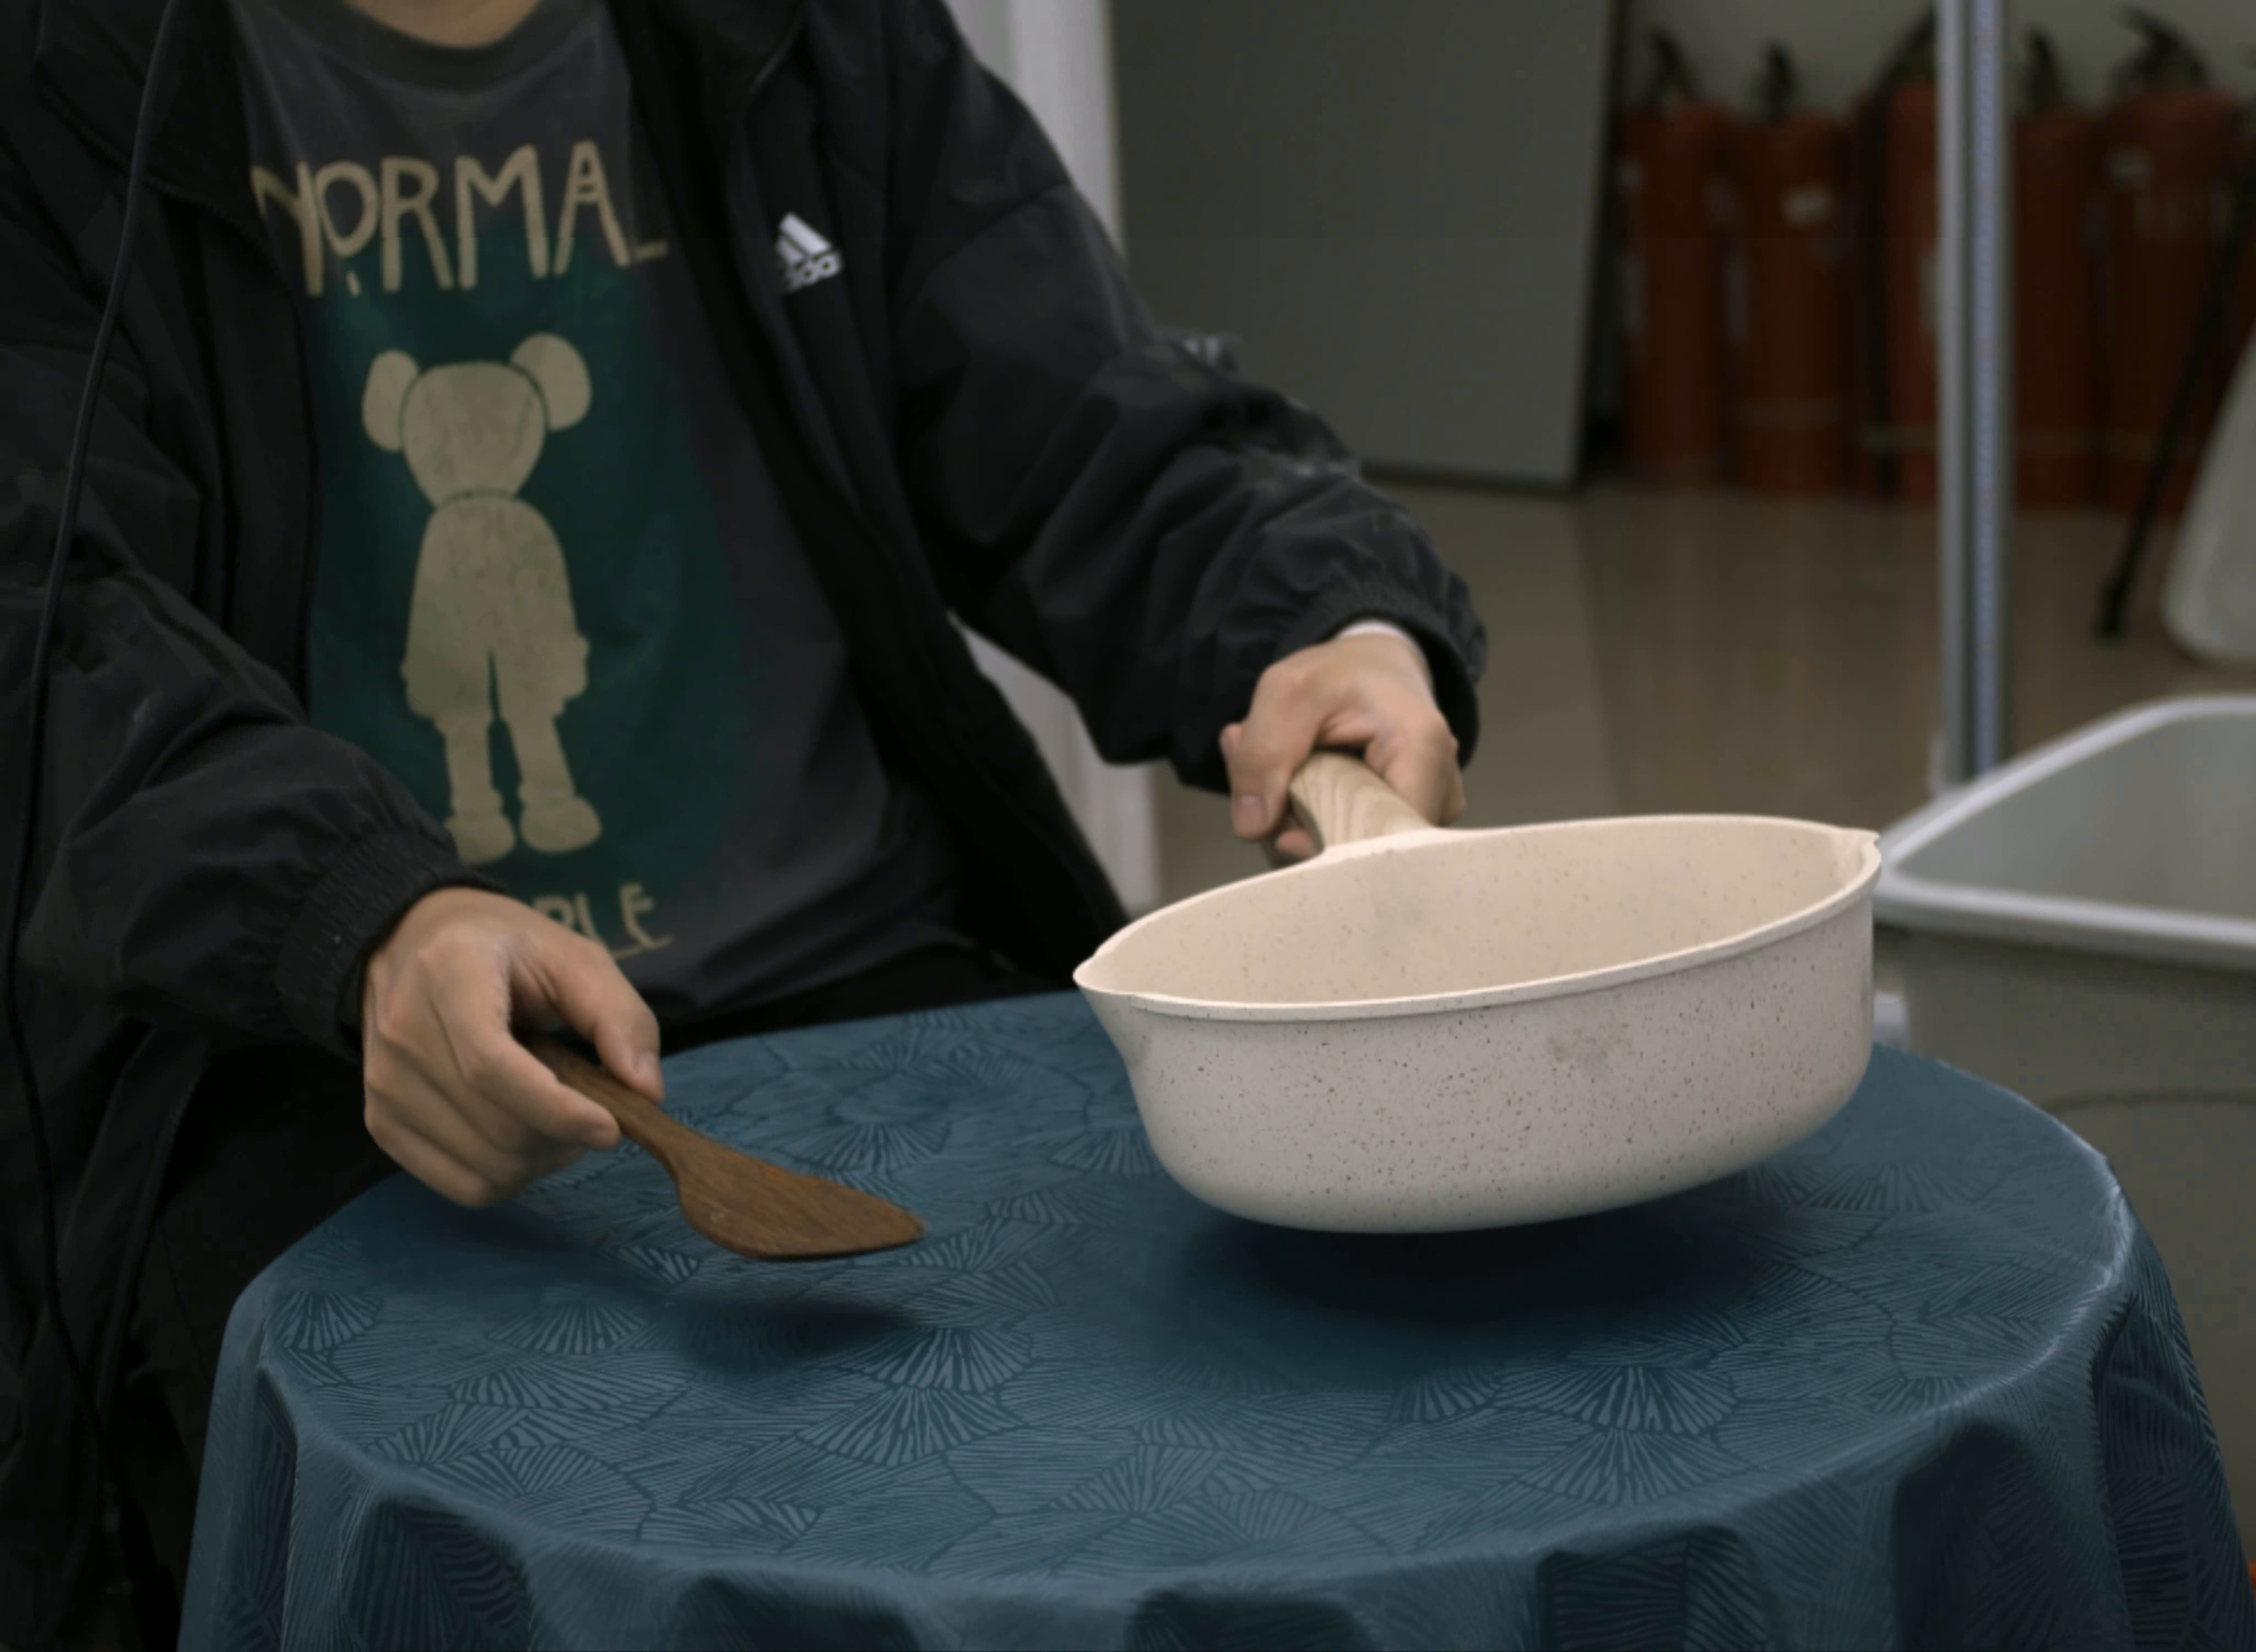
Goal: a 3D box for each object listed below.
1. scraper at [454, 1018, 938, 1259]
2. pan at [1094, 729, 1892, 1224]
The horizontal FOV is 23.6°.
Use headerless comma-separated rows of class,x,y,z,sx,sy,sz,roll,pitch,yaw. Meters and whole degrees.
scraper,-0.147,0.098,1.712,0.074,0.011,0.213,-3,20,-41
pan,0.103,0.041,1.781,0.259,0.103,0.437,-13,9,-9
